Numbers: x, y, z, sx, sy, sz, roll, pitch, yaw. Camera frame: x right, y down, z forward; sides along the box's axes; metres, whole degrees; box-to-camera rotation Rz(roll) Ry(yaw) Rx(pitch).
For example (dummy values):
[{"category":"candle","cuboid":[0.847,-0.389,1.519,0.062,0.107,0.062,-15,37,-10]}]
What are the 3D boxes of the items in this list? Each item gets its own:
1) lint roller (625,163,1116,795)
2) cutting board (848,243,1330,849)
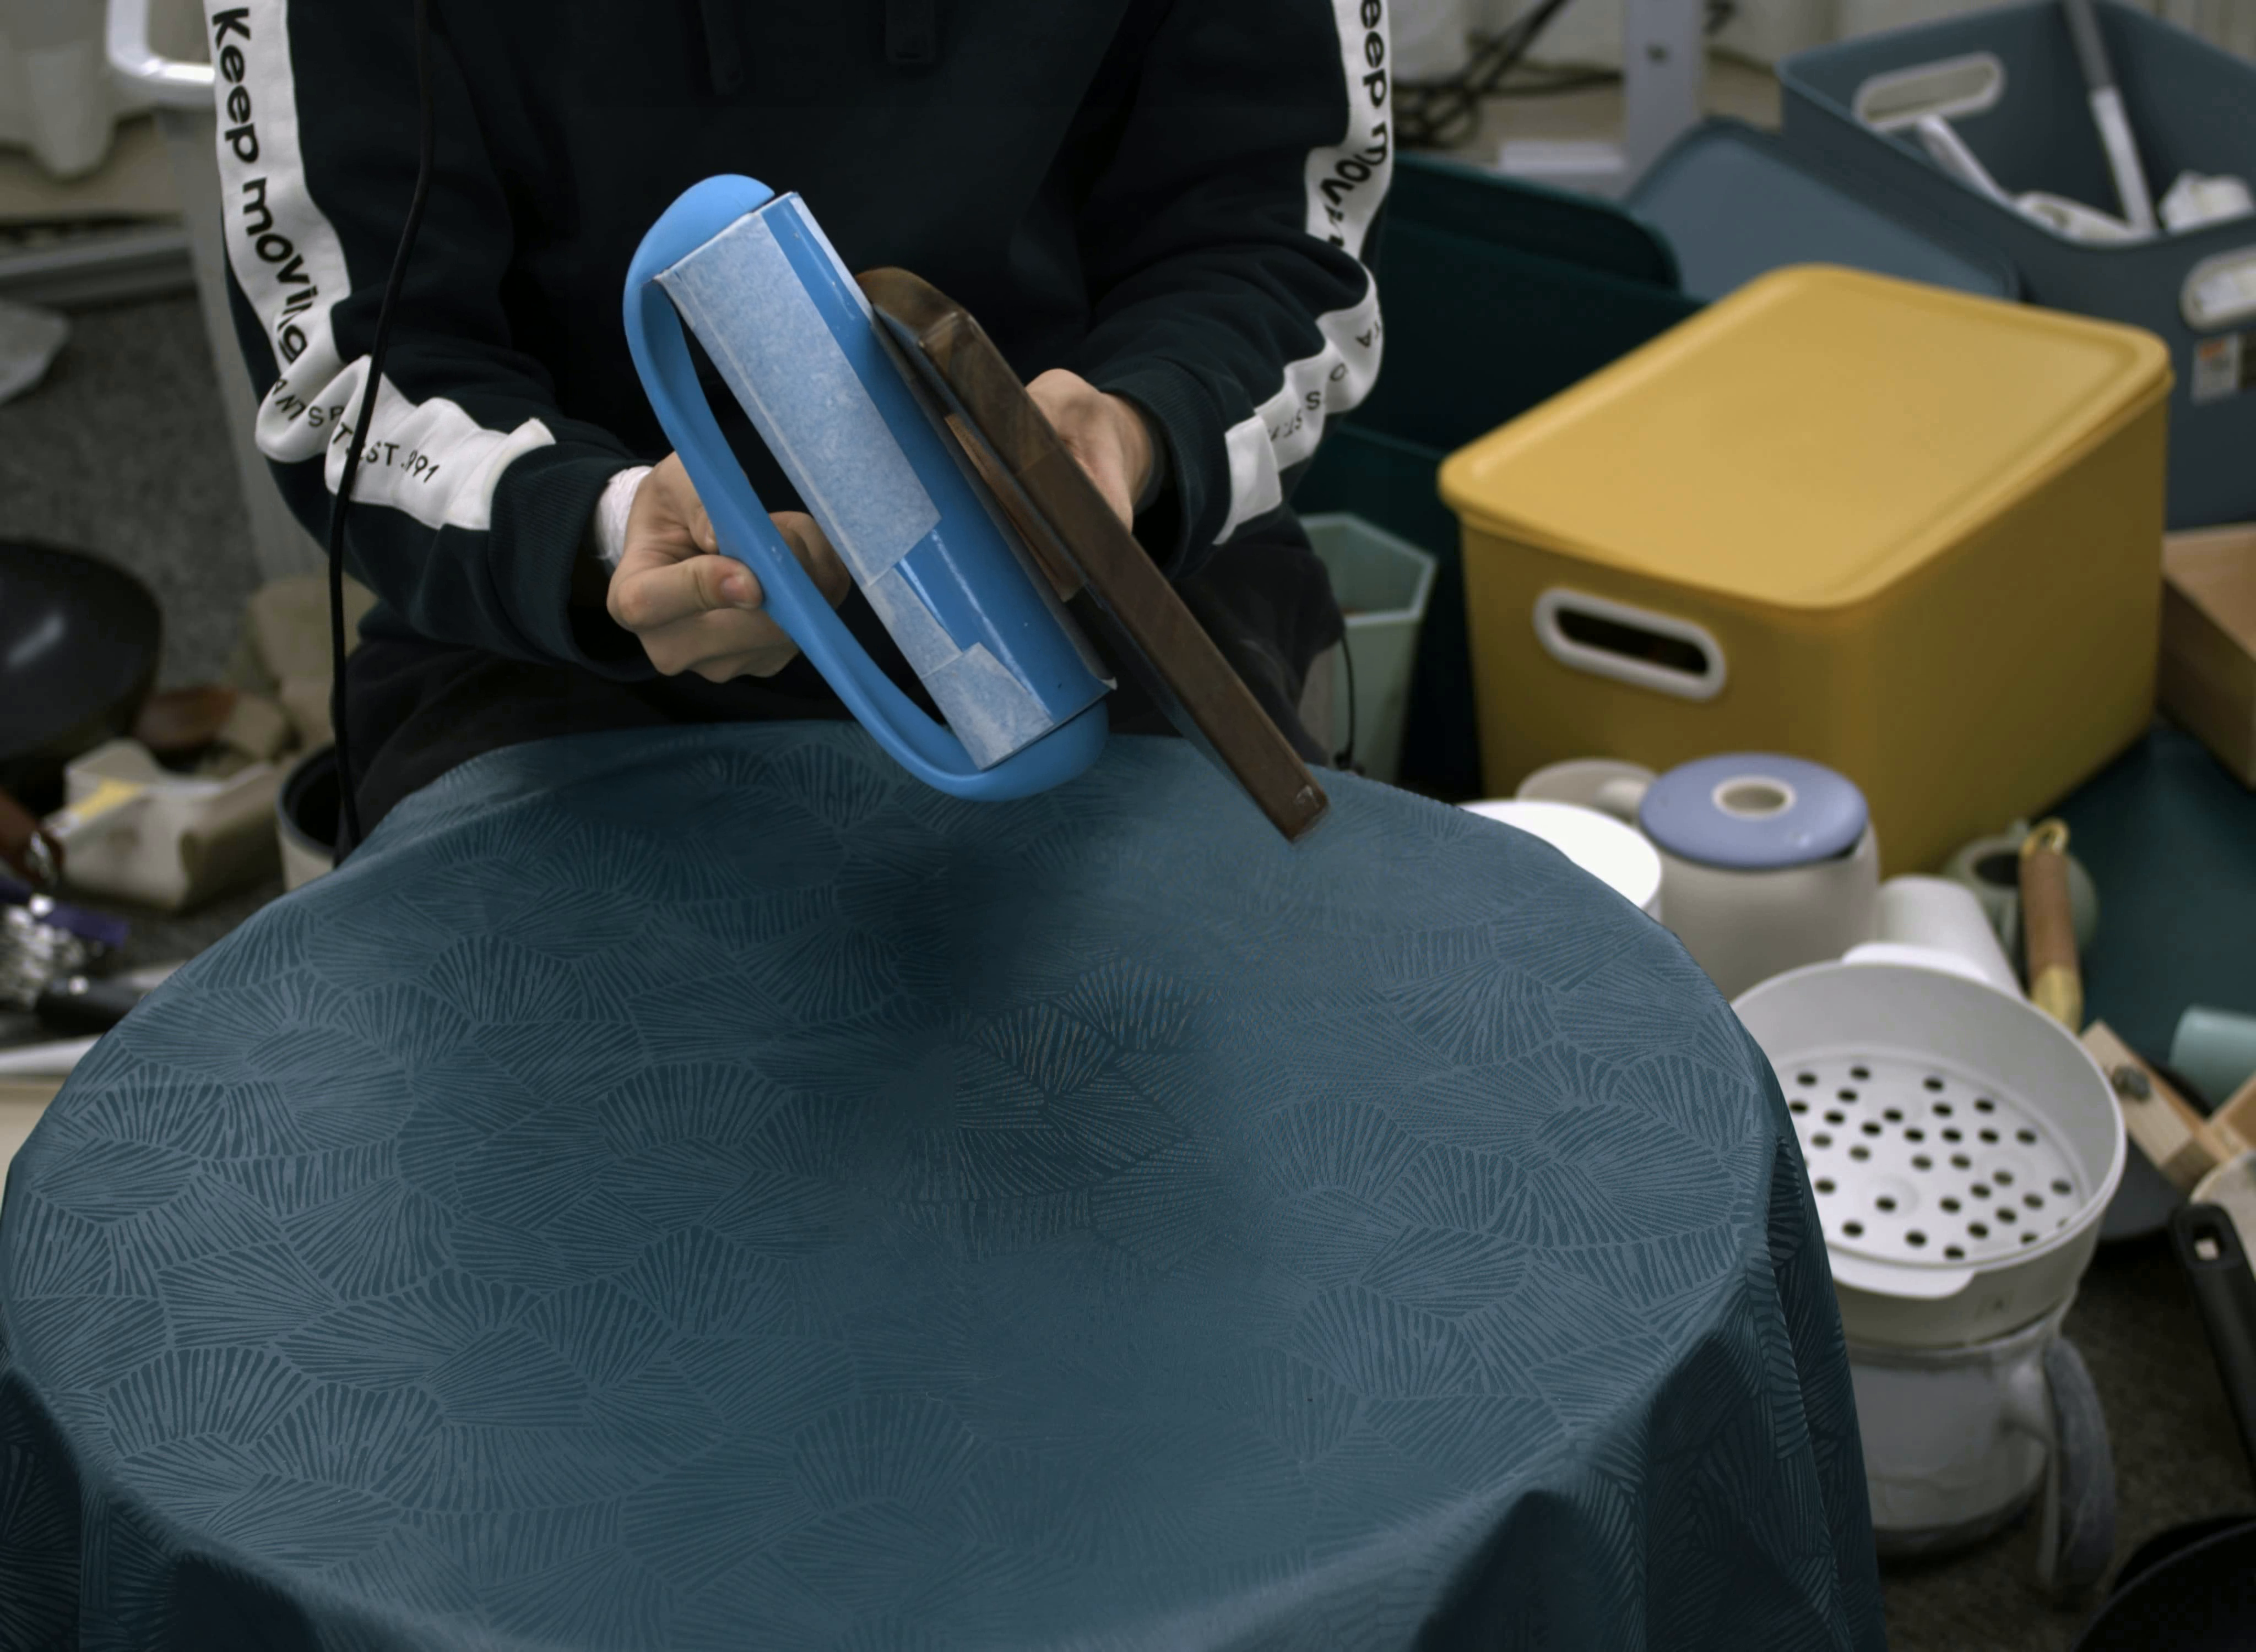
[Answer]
[{"category":"lint roller","cuboid":[-0.103,-0.099,1.883,0.069,0.229,0.178,-36,2,-29]},{"category":"cutting board","cuboid":[-0.023,-0.104,1.882,0.023,0.200,0.353,-36,13,-1]}]
